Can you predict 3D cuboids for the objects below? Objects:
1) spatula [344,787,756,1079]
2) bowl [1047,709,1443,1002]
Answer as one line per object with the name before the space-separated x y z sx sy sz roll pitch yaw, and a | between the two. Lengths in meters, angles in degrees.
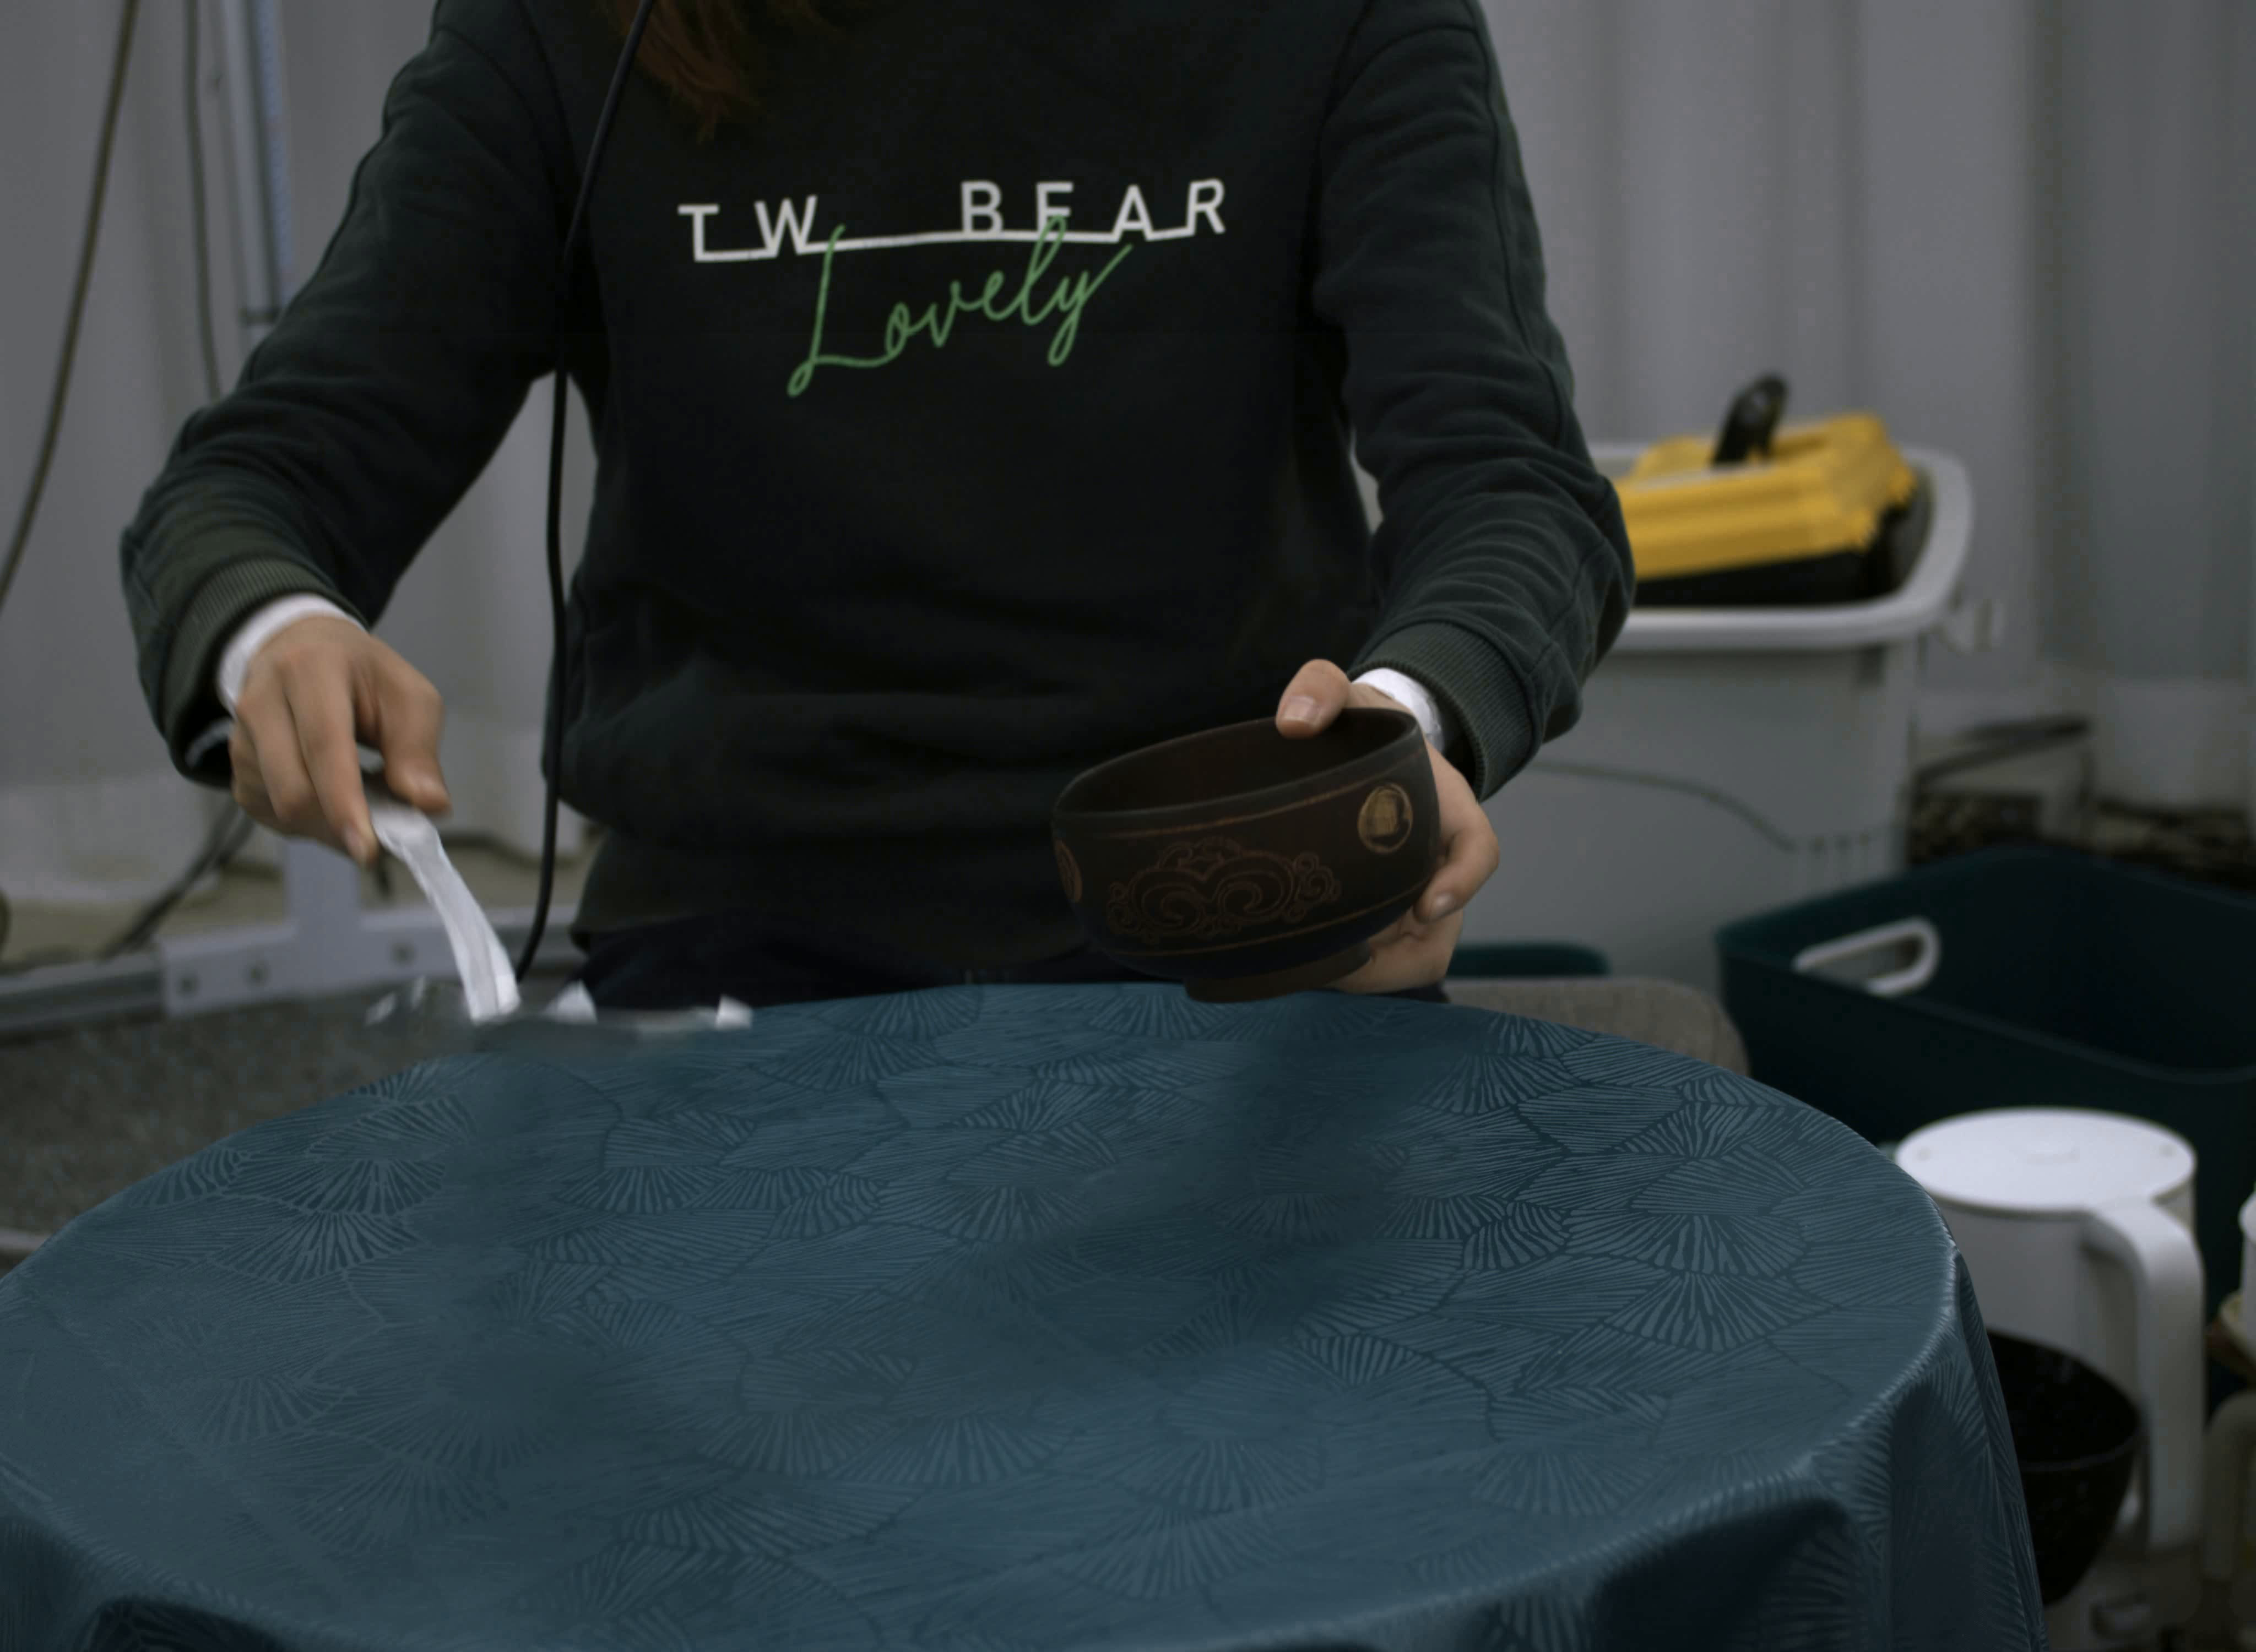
spatula | -0.197 0.022 1.630 0.098 0.044 0.368 4 15 -19
bowl | 0.038 0.012 1.644 0.117 0.070 0.118 -10 10 2
